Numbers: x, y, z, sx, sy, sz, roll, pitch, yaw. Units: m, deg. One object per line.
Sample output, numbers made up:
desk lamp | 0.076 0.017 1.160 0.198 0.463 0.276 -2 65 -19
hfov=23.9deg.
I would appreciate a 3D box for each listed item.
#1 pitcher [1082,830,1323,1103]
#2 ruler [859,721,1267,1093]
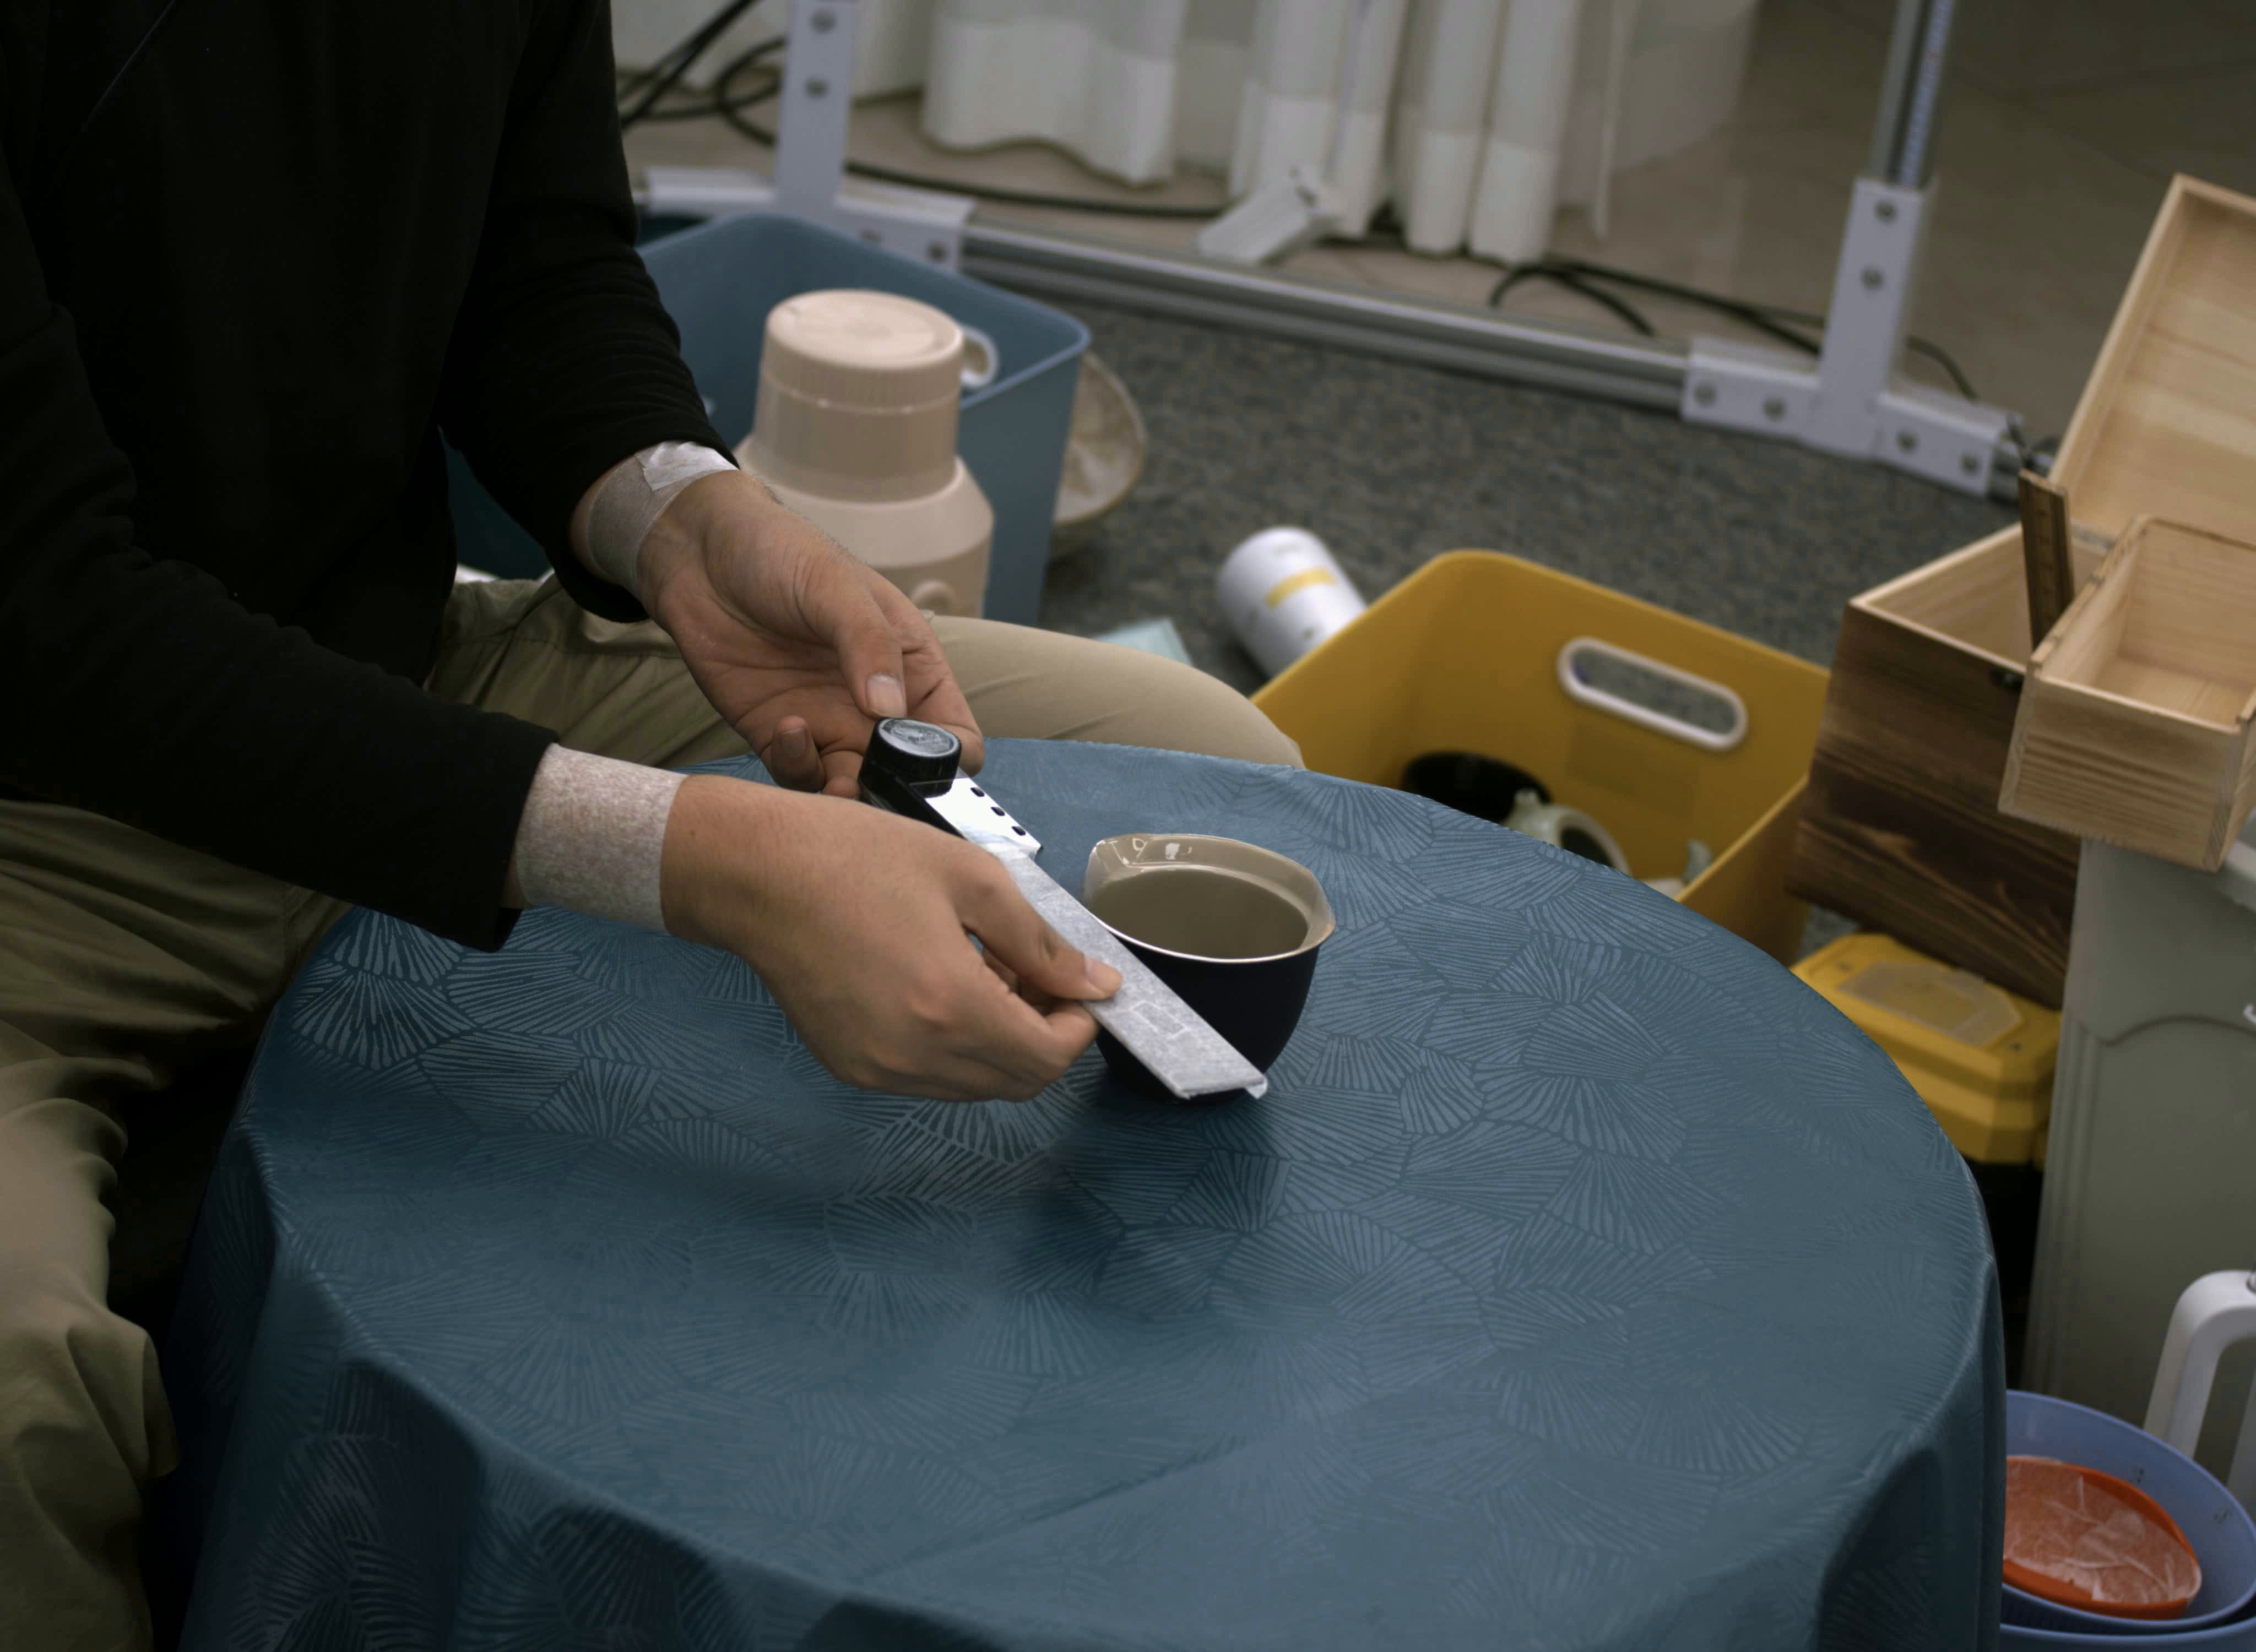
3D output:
pitcher | 0.020 0.052 1.866 0.083 0.071 0.097 -17 36 -37
ruler | -0.026 0.024 1.810 0.038 0.024 0.220 -12 35 -31
